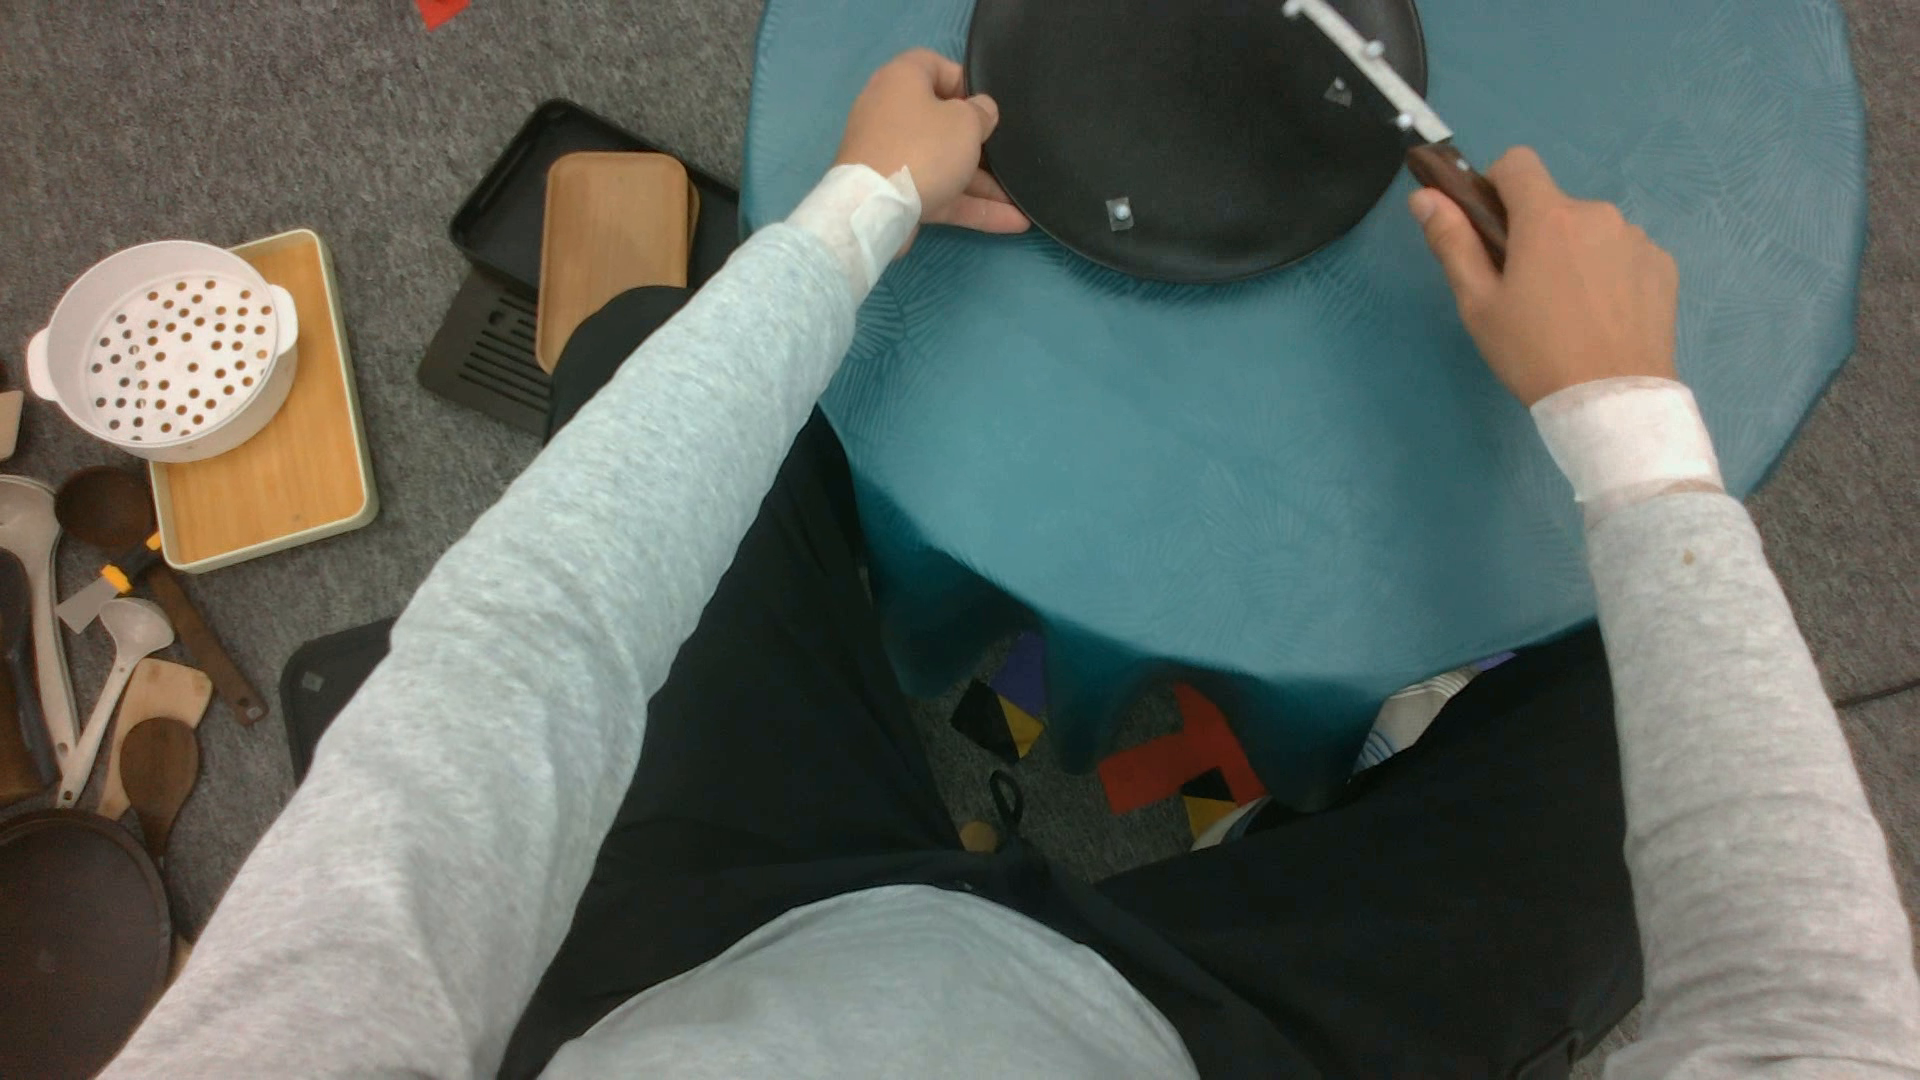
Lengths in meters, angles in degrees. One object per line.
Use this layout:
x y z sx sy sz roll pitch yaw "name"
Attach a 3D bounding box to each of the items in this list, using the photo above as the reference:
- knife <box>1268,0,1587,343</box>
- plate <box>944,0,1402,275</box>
0.206 -0.212 0.669 0.050 0.020 0.289 -28 78 -41 "knife"
0.113 -0.254 0.741 0.244 0.023 0.245 0 79 1 "plate"
